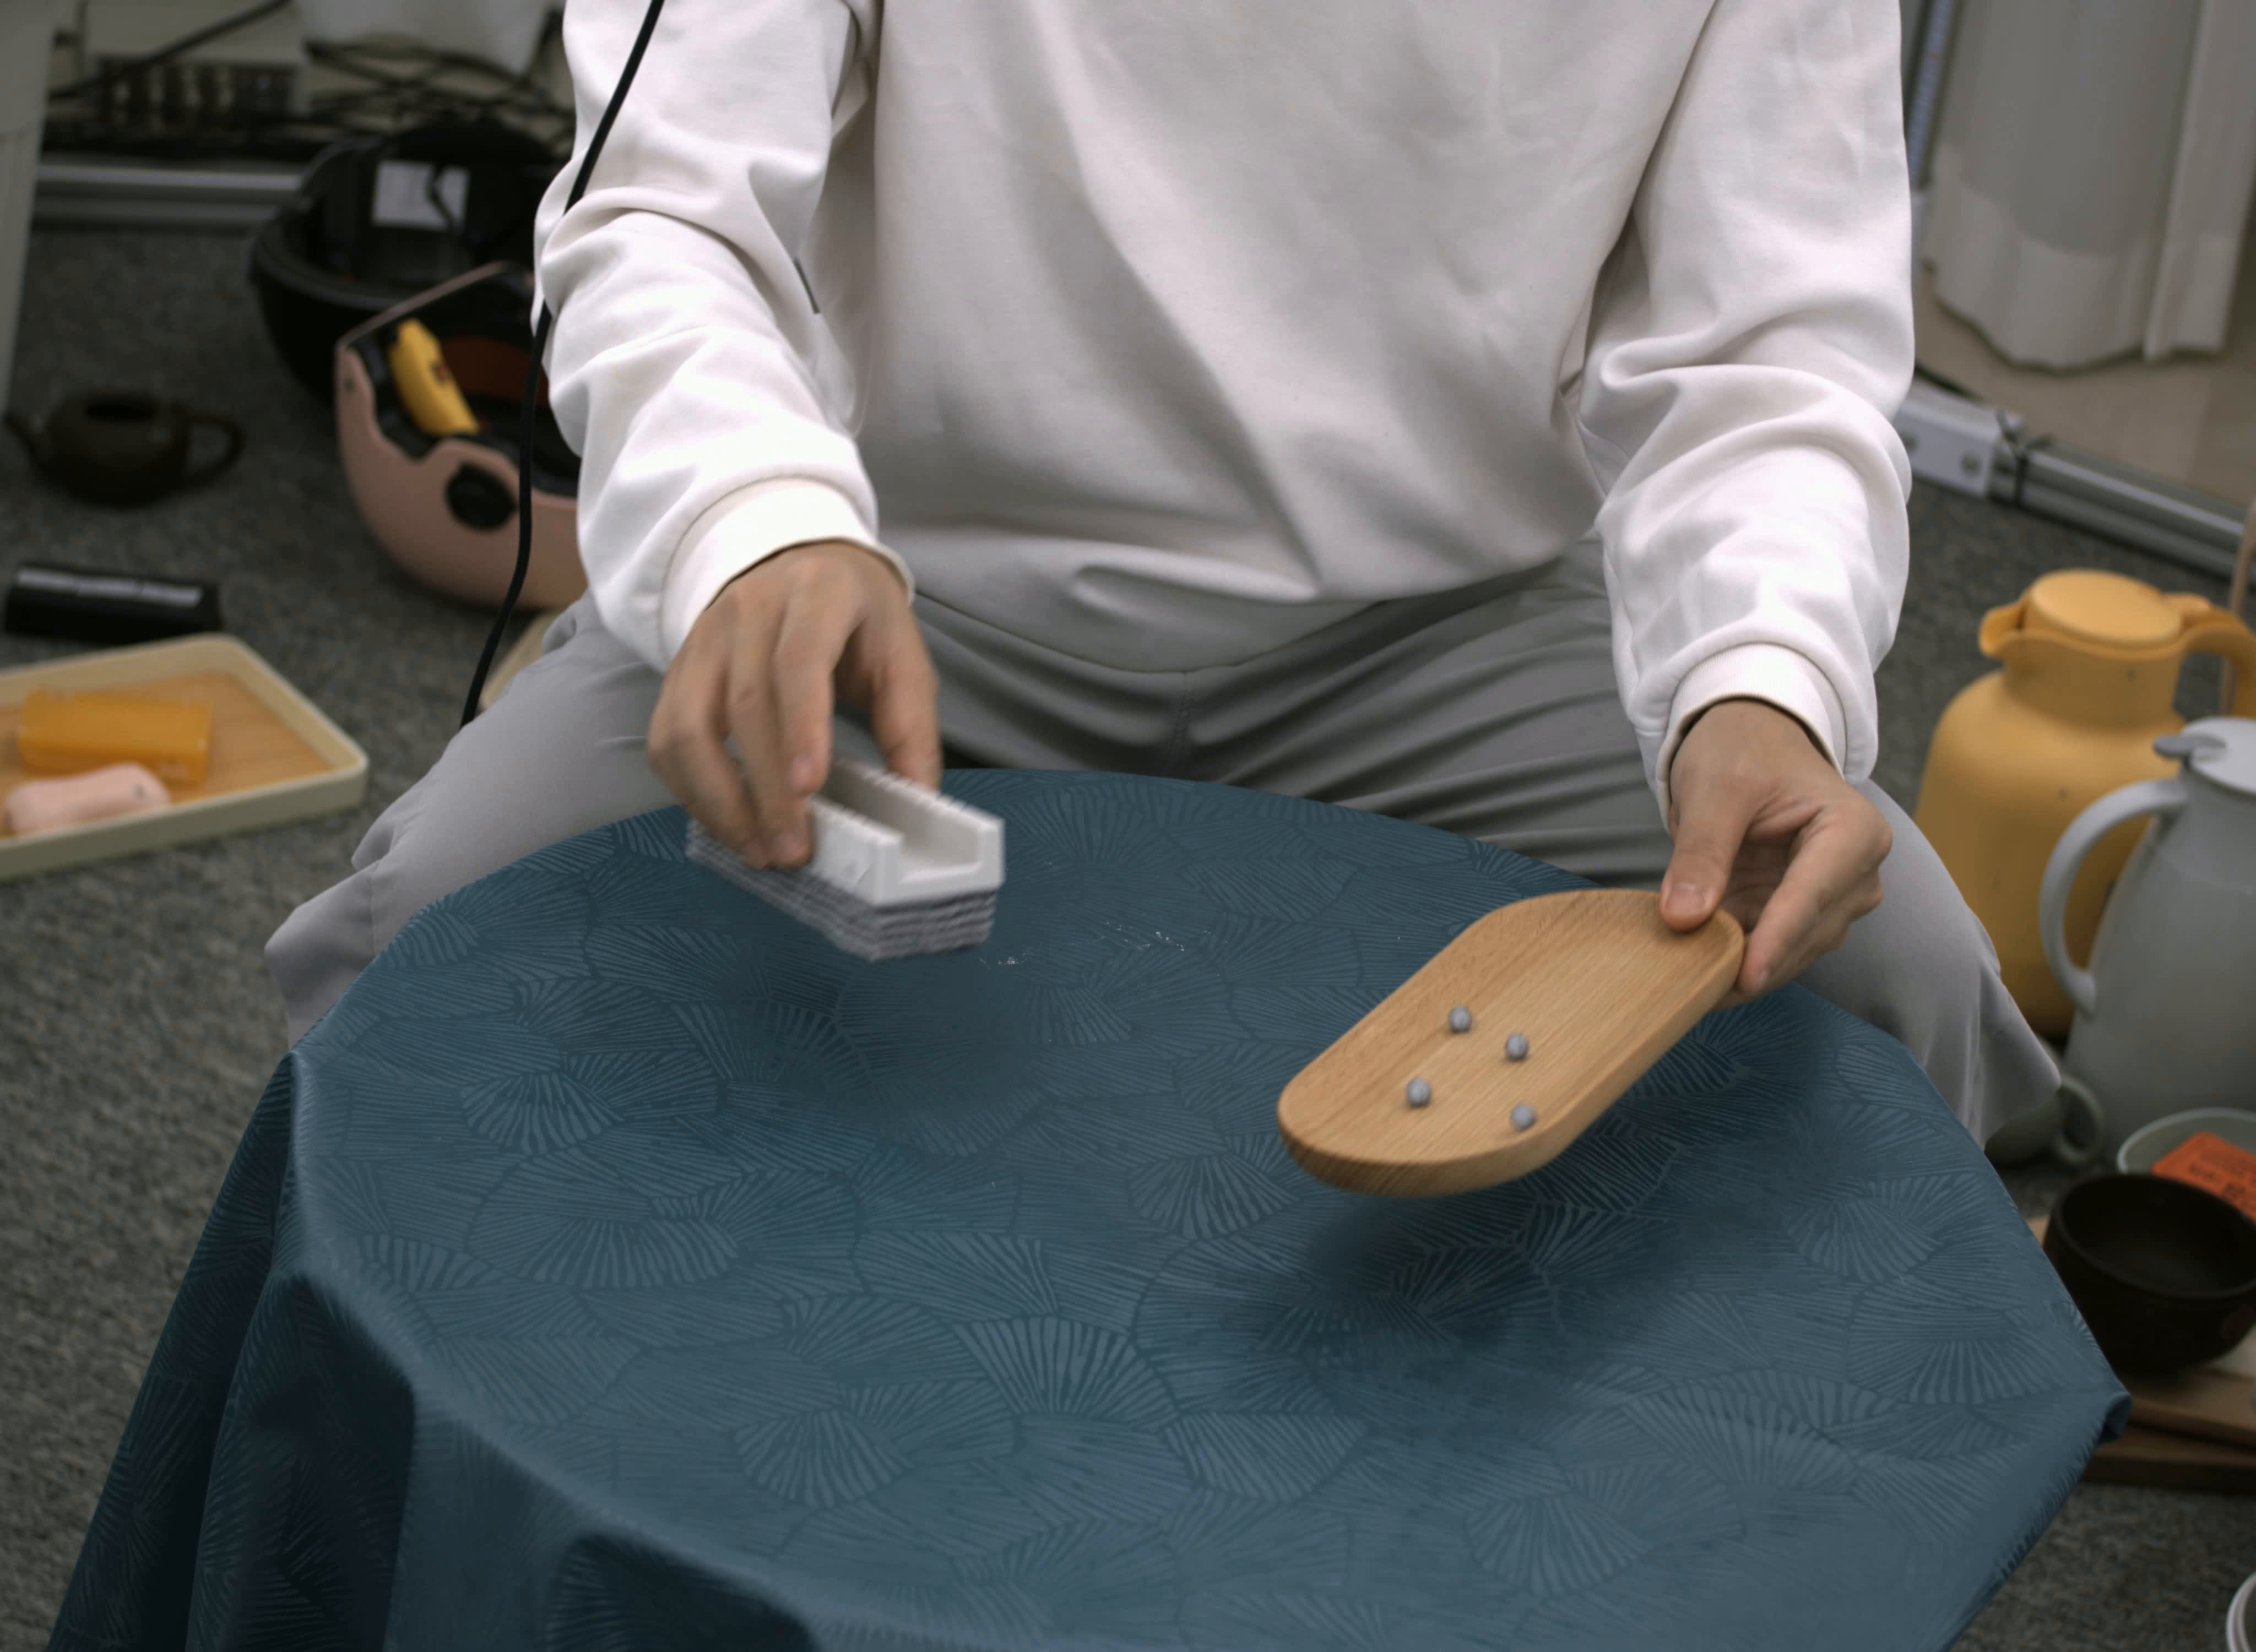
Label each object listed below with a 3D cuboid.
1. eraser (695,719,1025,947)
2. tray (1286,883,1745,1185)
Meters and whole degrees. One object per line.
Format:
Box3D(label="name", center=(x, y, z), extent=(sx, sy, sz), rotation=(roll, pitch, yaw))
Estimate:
Box3D(label="eraser", center=(-0.094, 0.002, 1.842), extent=(0.049, 0.046, 0.135), rotation=(-5, 18, -37))
Box3D(label="tray", center=(0.133, 0.068, 1.795), extent=(0.102, 0.020, 0.231), rotation=(7, 23, 28))
